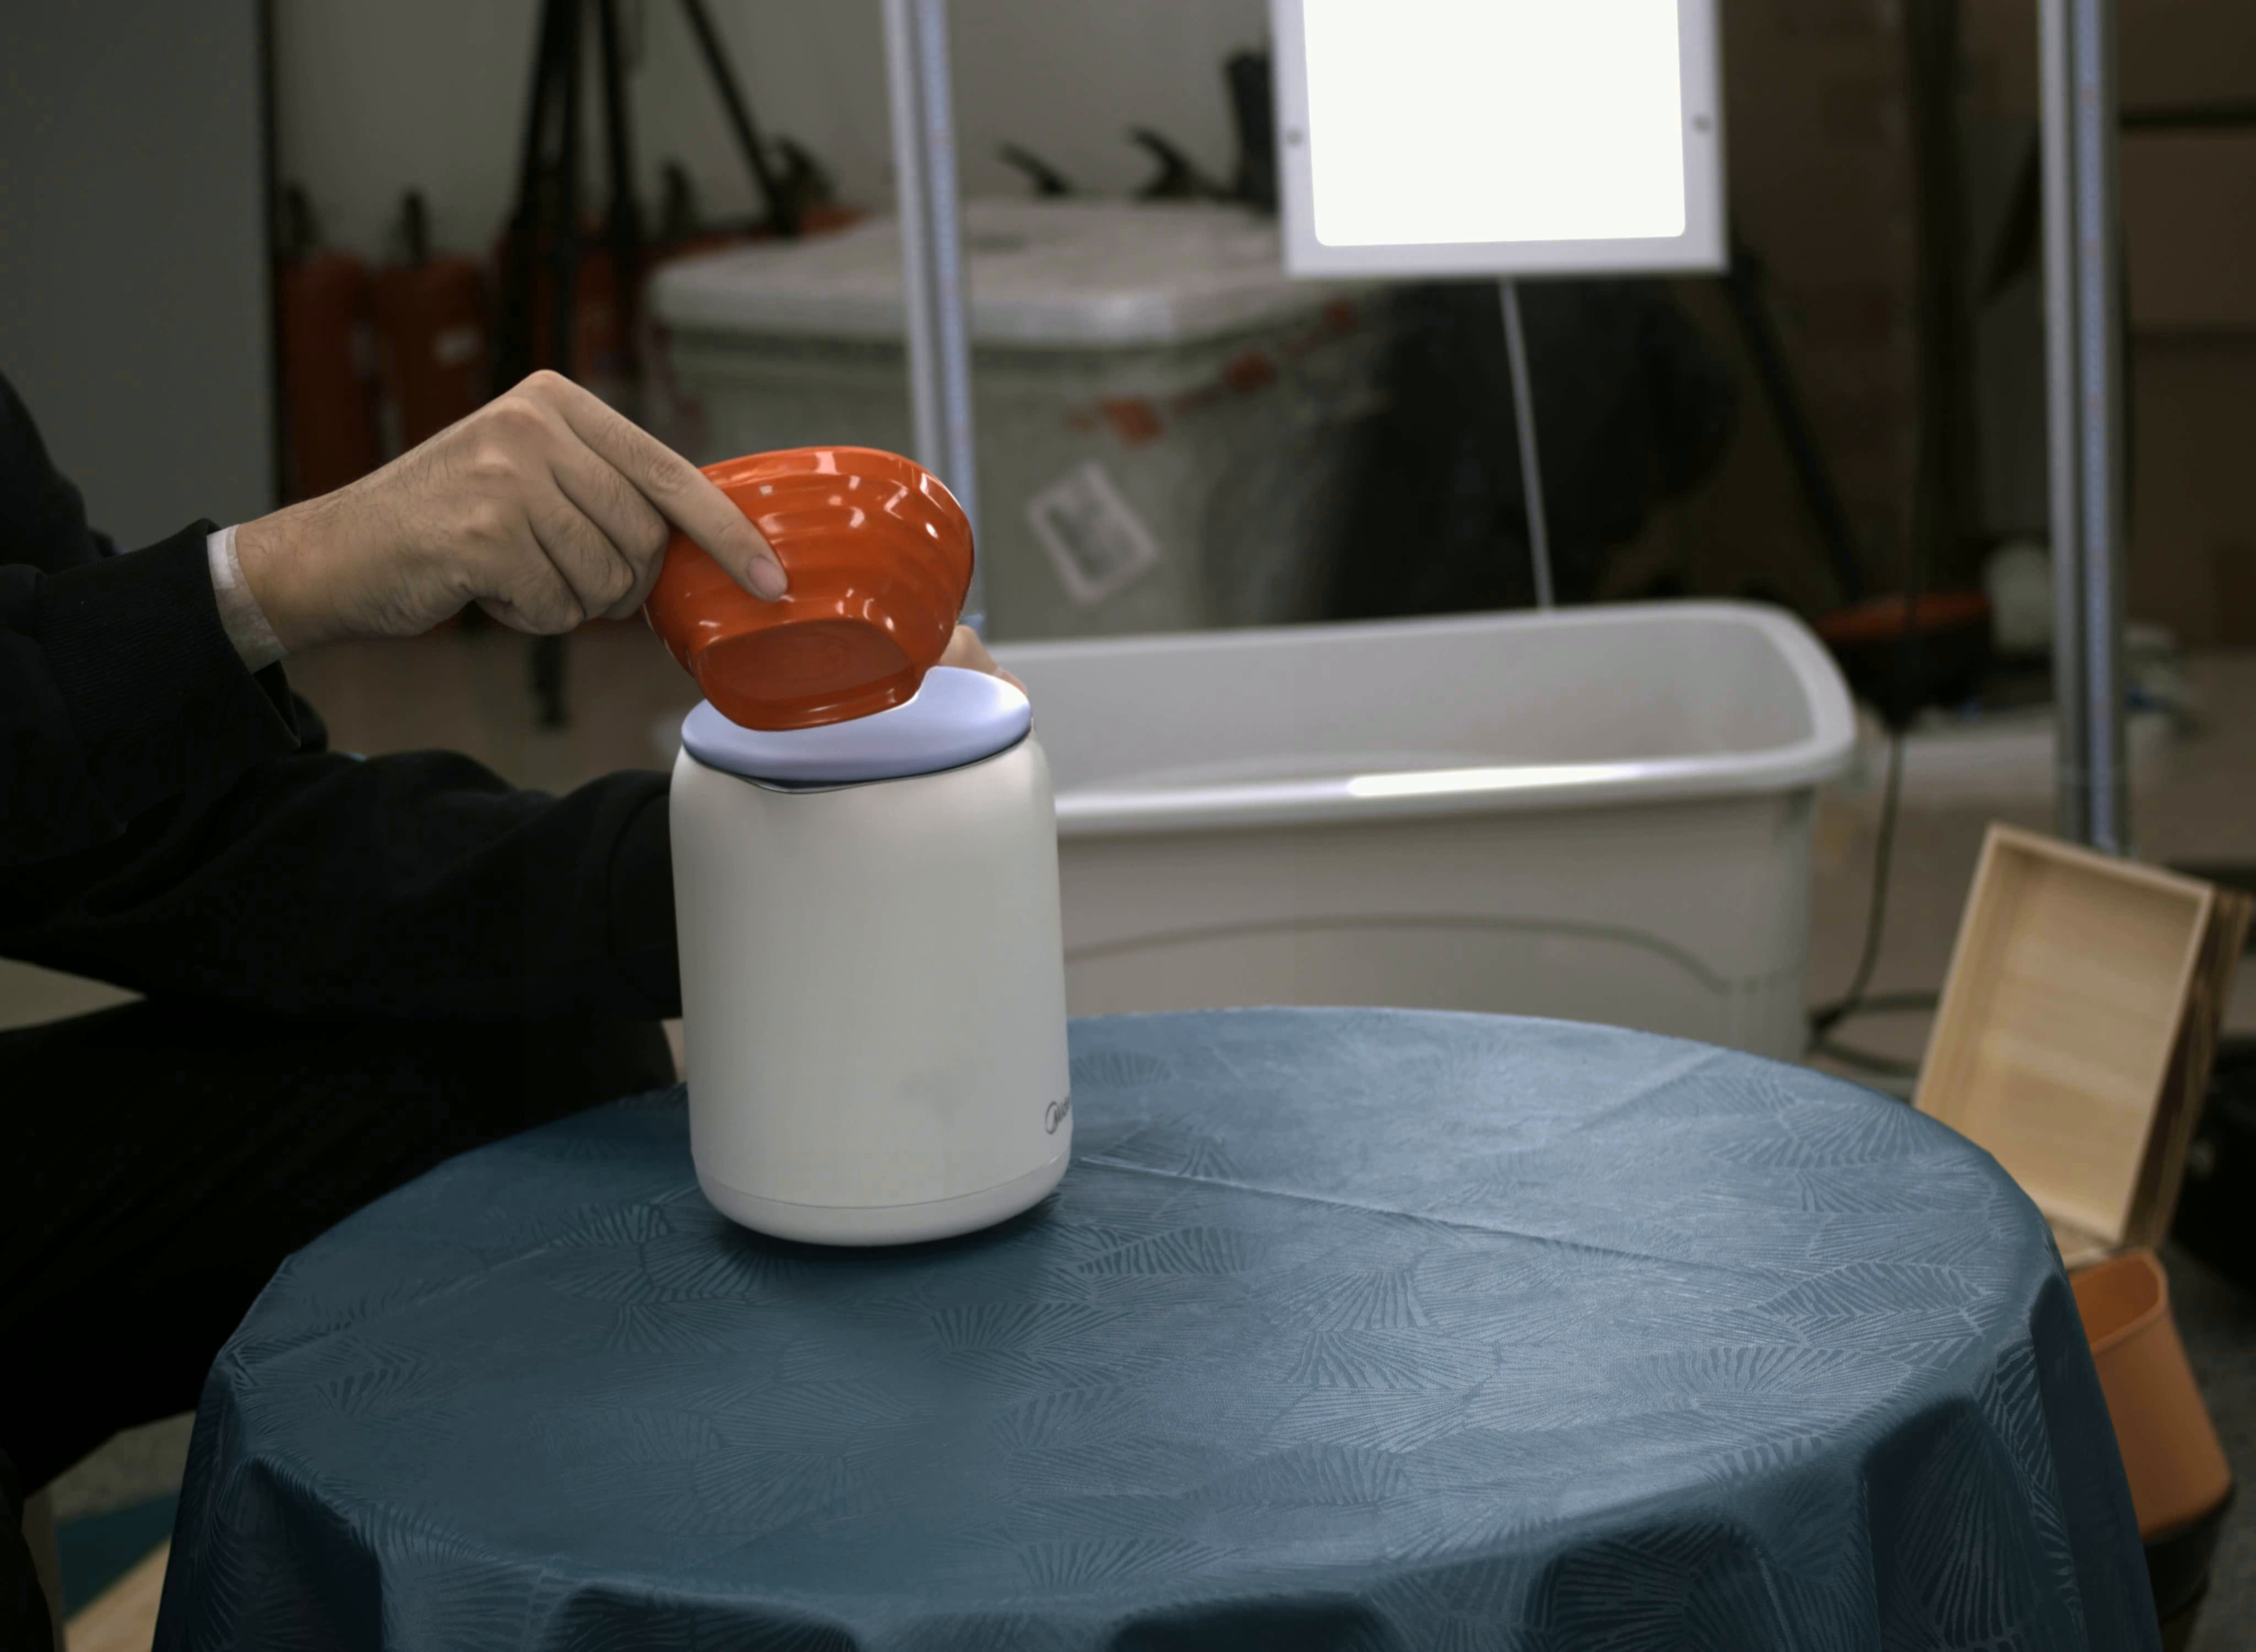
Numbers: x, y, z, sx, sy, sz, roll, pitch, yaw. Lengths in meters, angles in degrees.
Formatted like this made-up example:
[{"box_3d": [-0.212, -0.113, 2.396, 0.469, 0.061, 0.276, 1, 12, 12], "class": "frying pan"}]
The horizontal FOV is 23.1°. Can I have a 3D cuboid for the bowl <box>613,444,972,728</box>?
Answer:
[{"box_3d": [-0.104, -0.069, 1.730, 0.118, 0.051, 0.119, -2, -26, -2], "class": "bowl"}]

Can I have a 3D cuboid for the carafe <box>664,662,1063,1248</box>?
[{"box_3d": [-0.083, 0.036, 1.891, 0.133, 0.183, 0.188, 3, 17, 15], "class": "carafe"}]
